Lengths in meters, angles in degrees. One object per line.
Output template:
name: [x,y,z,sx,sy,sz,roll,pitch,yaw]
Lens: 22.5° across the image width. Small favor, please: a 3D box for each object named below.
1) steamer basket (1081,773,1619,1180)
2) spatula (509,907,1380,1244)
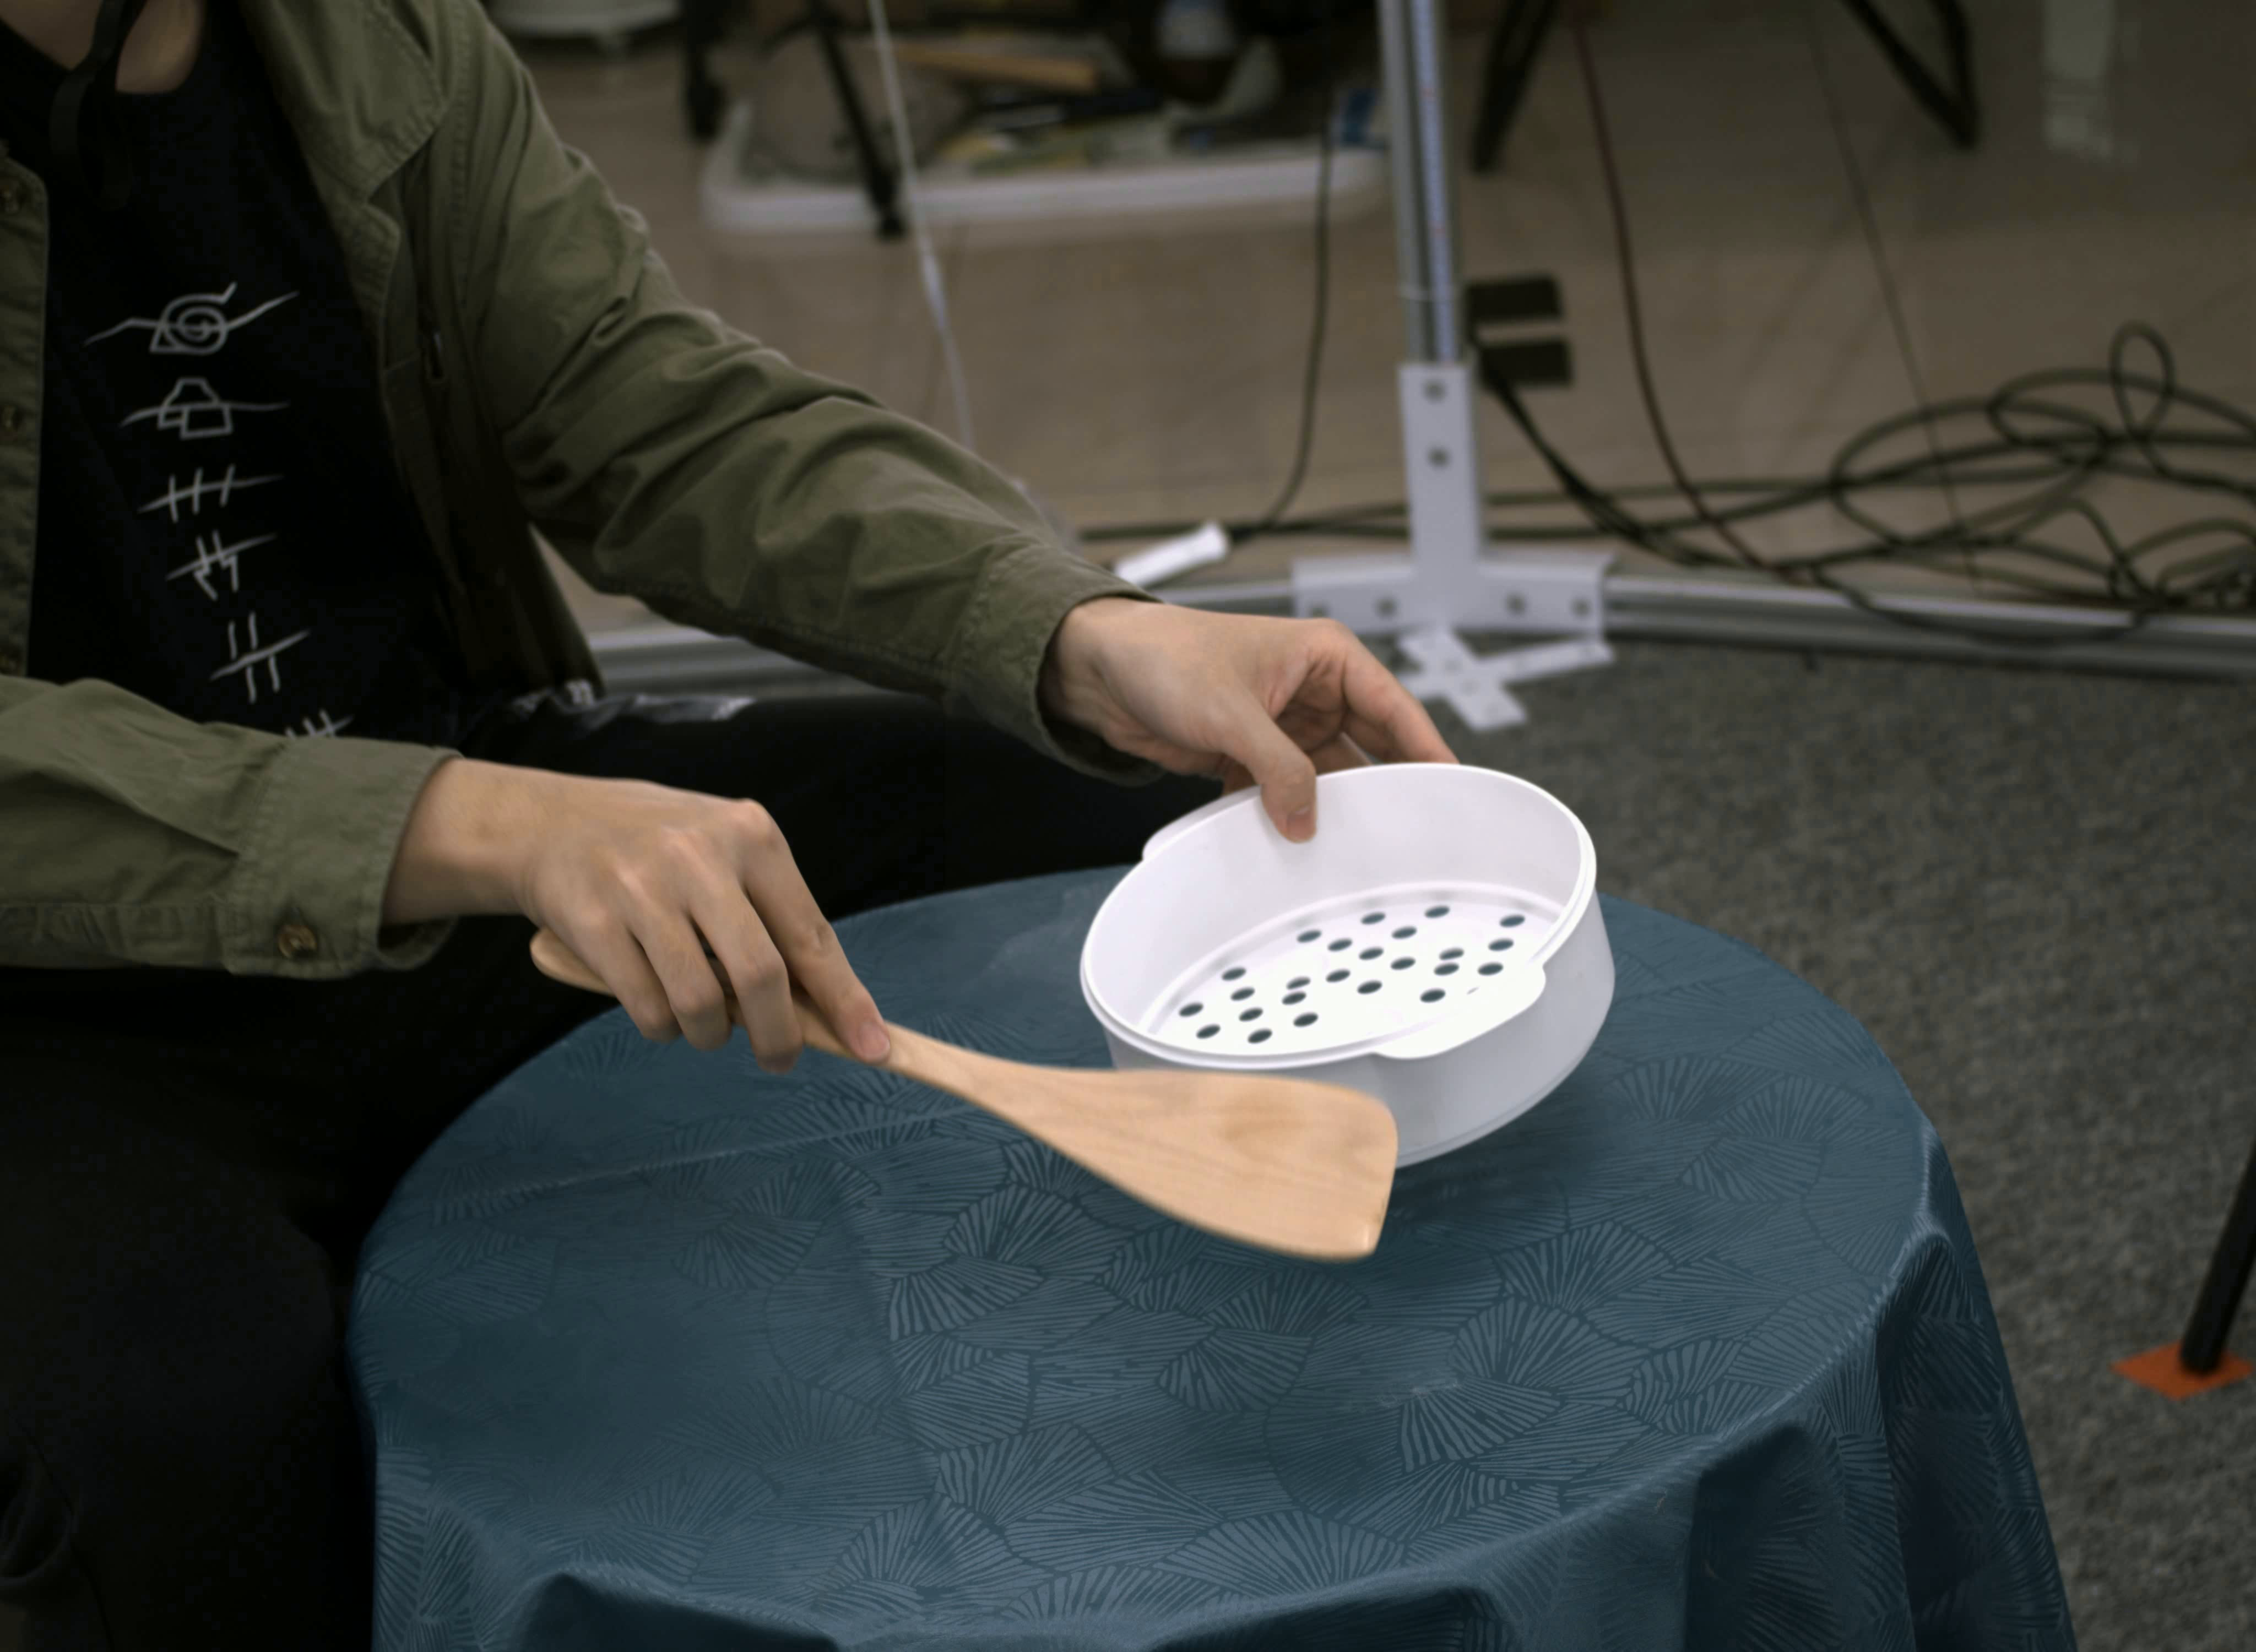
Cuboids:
steamer basket: [0.086,0.059,2.144,0.201,0.070,0.228,-26,31,-17]
spatula: [-0.066,0.077,1.989,0.326,0.017,0.078,17,47,11]
